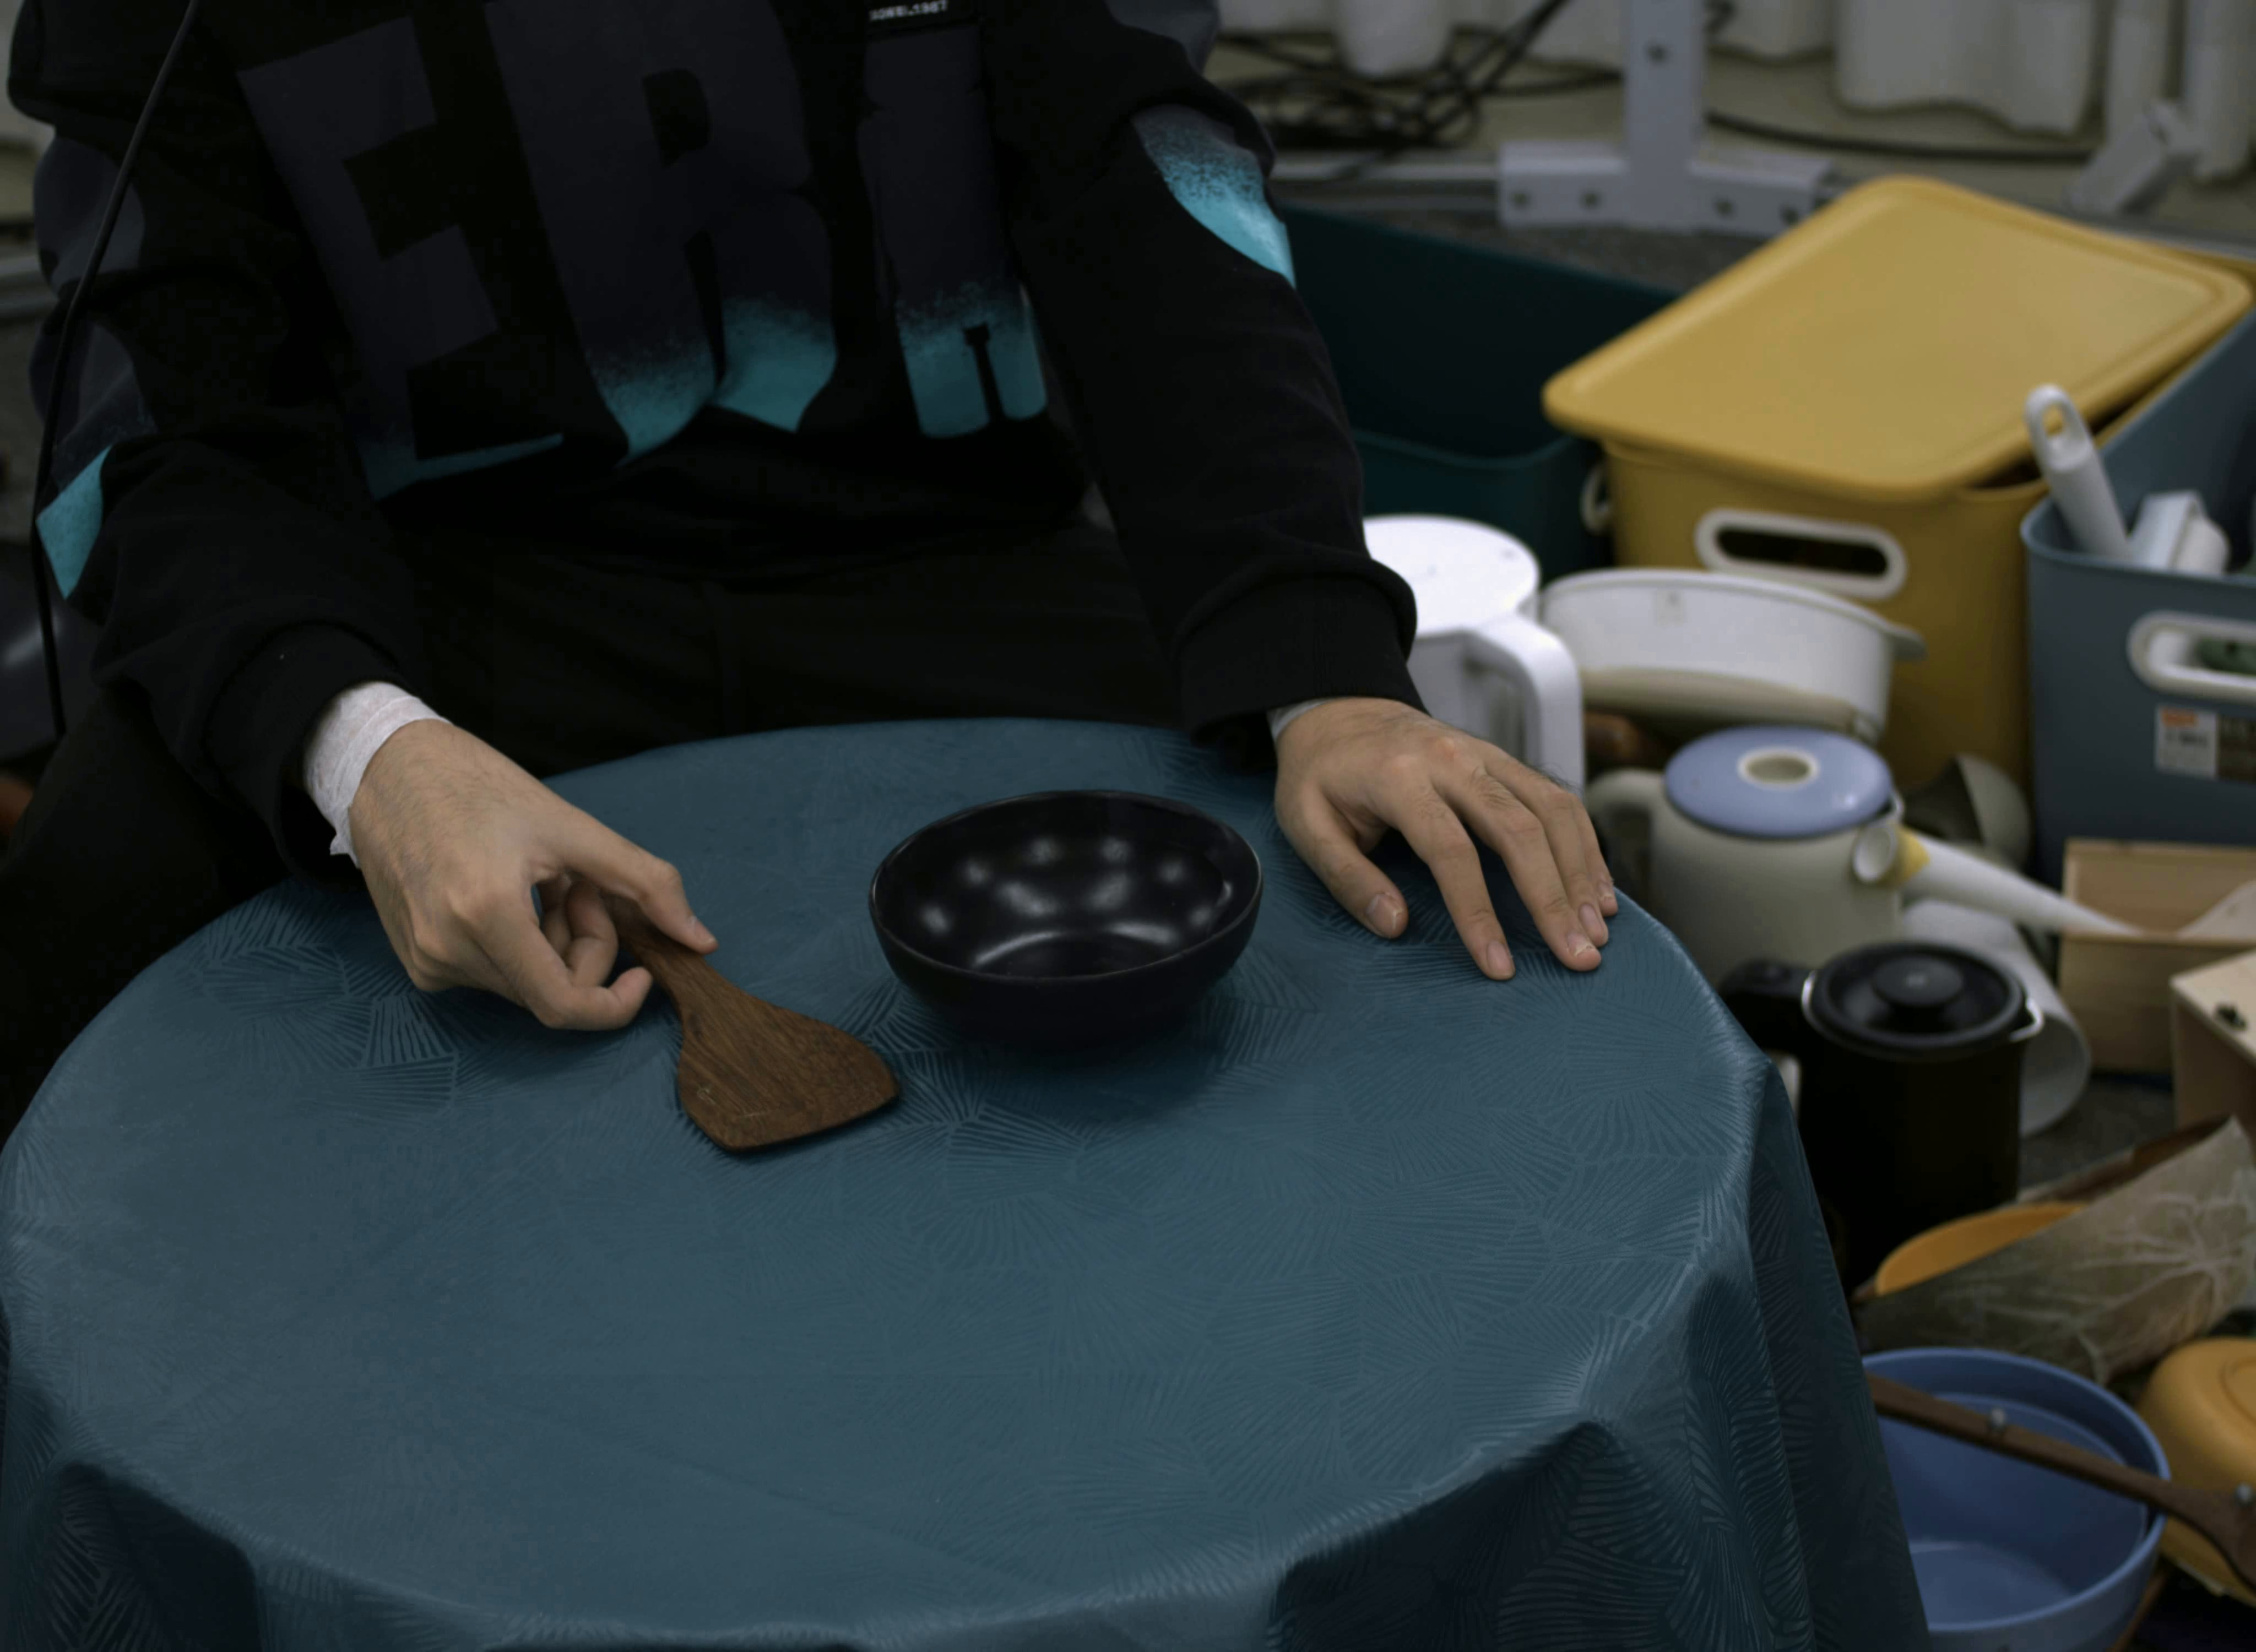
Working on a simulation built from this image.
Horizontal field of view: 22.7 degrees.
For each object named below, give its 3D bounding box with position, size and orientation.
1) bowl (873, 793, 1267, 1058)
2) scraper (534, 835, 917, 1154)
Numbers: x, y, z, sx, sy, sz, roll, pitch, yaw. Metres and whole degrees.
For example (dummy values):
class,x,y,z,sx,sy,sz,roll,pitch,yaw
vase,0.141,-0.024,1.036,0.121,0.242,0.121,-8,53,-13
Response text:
class,x,y,z,sx,sy,sz,roll,pitch,yaw
bowl,-0.018,0.042,1.966,0.139,0.049,0.142,-5,27,3
scraper,-0.153,0.057,1.976,0.076,0.010,0.212,-16,37,-27
